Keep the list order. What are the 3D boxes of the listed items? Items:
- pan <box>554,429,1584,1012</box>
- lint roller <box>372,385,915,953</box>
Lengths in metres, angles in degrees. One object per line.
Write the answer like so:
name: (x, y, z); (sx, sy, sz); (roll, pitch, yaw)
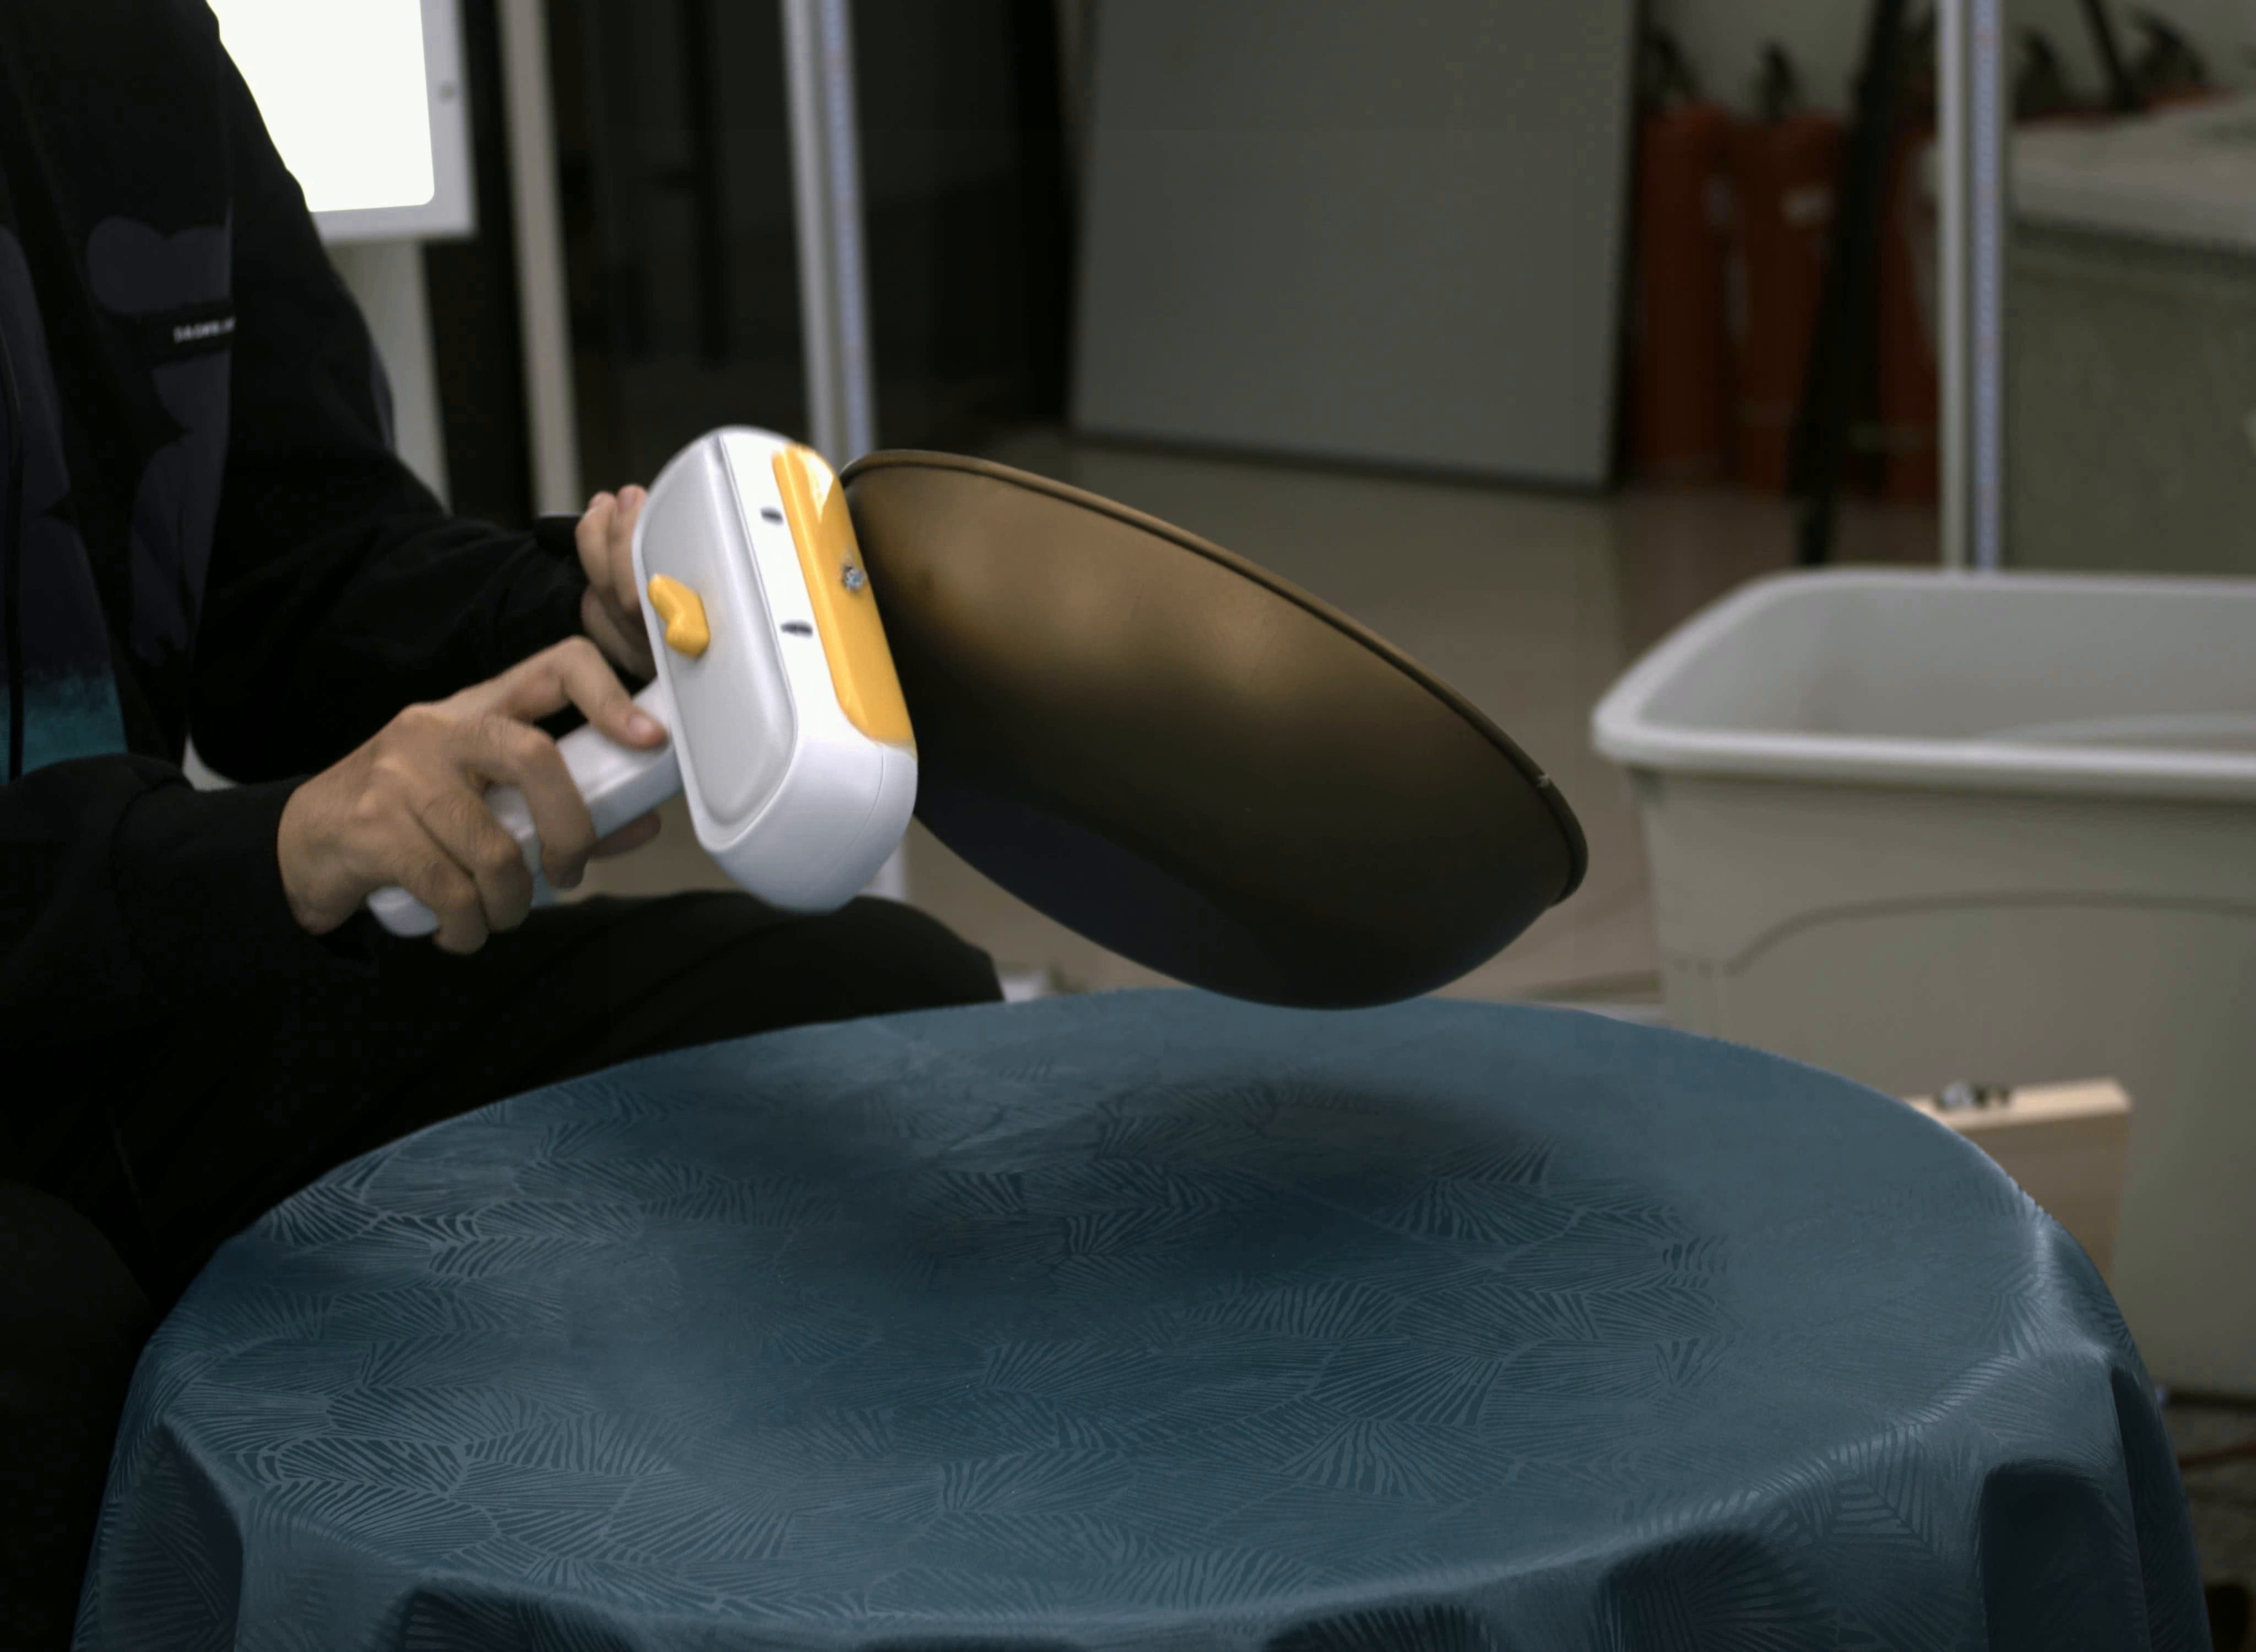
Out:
pan: (-0.058, -0.033, 1.818); (0.467, 0.087, 0.284); (14, -22, 43)
lint roller: (-0.159, -0.027, 1.715); (0.073, 0.193, 0.195); (29, 24, -40)
